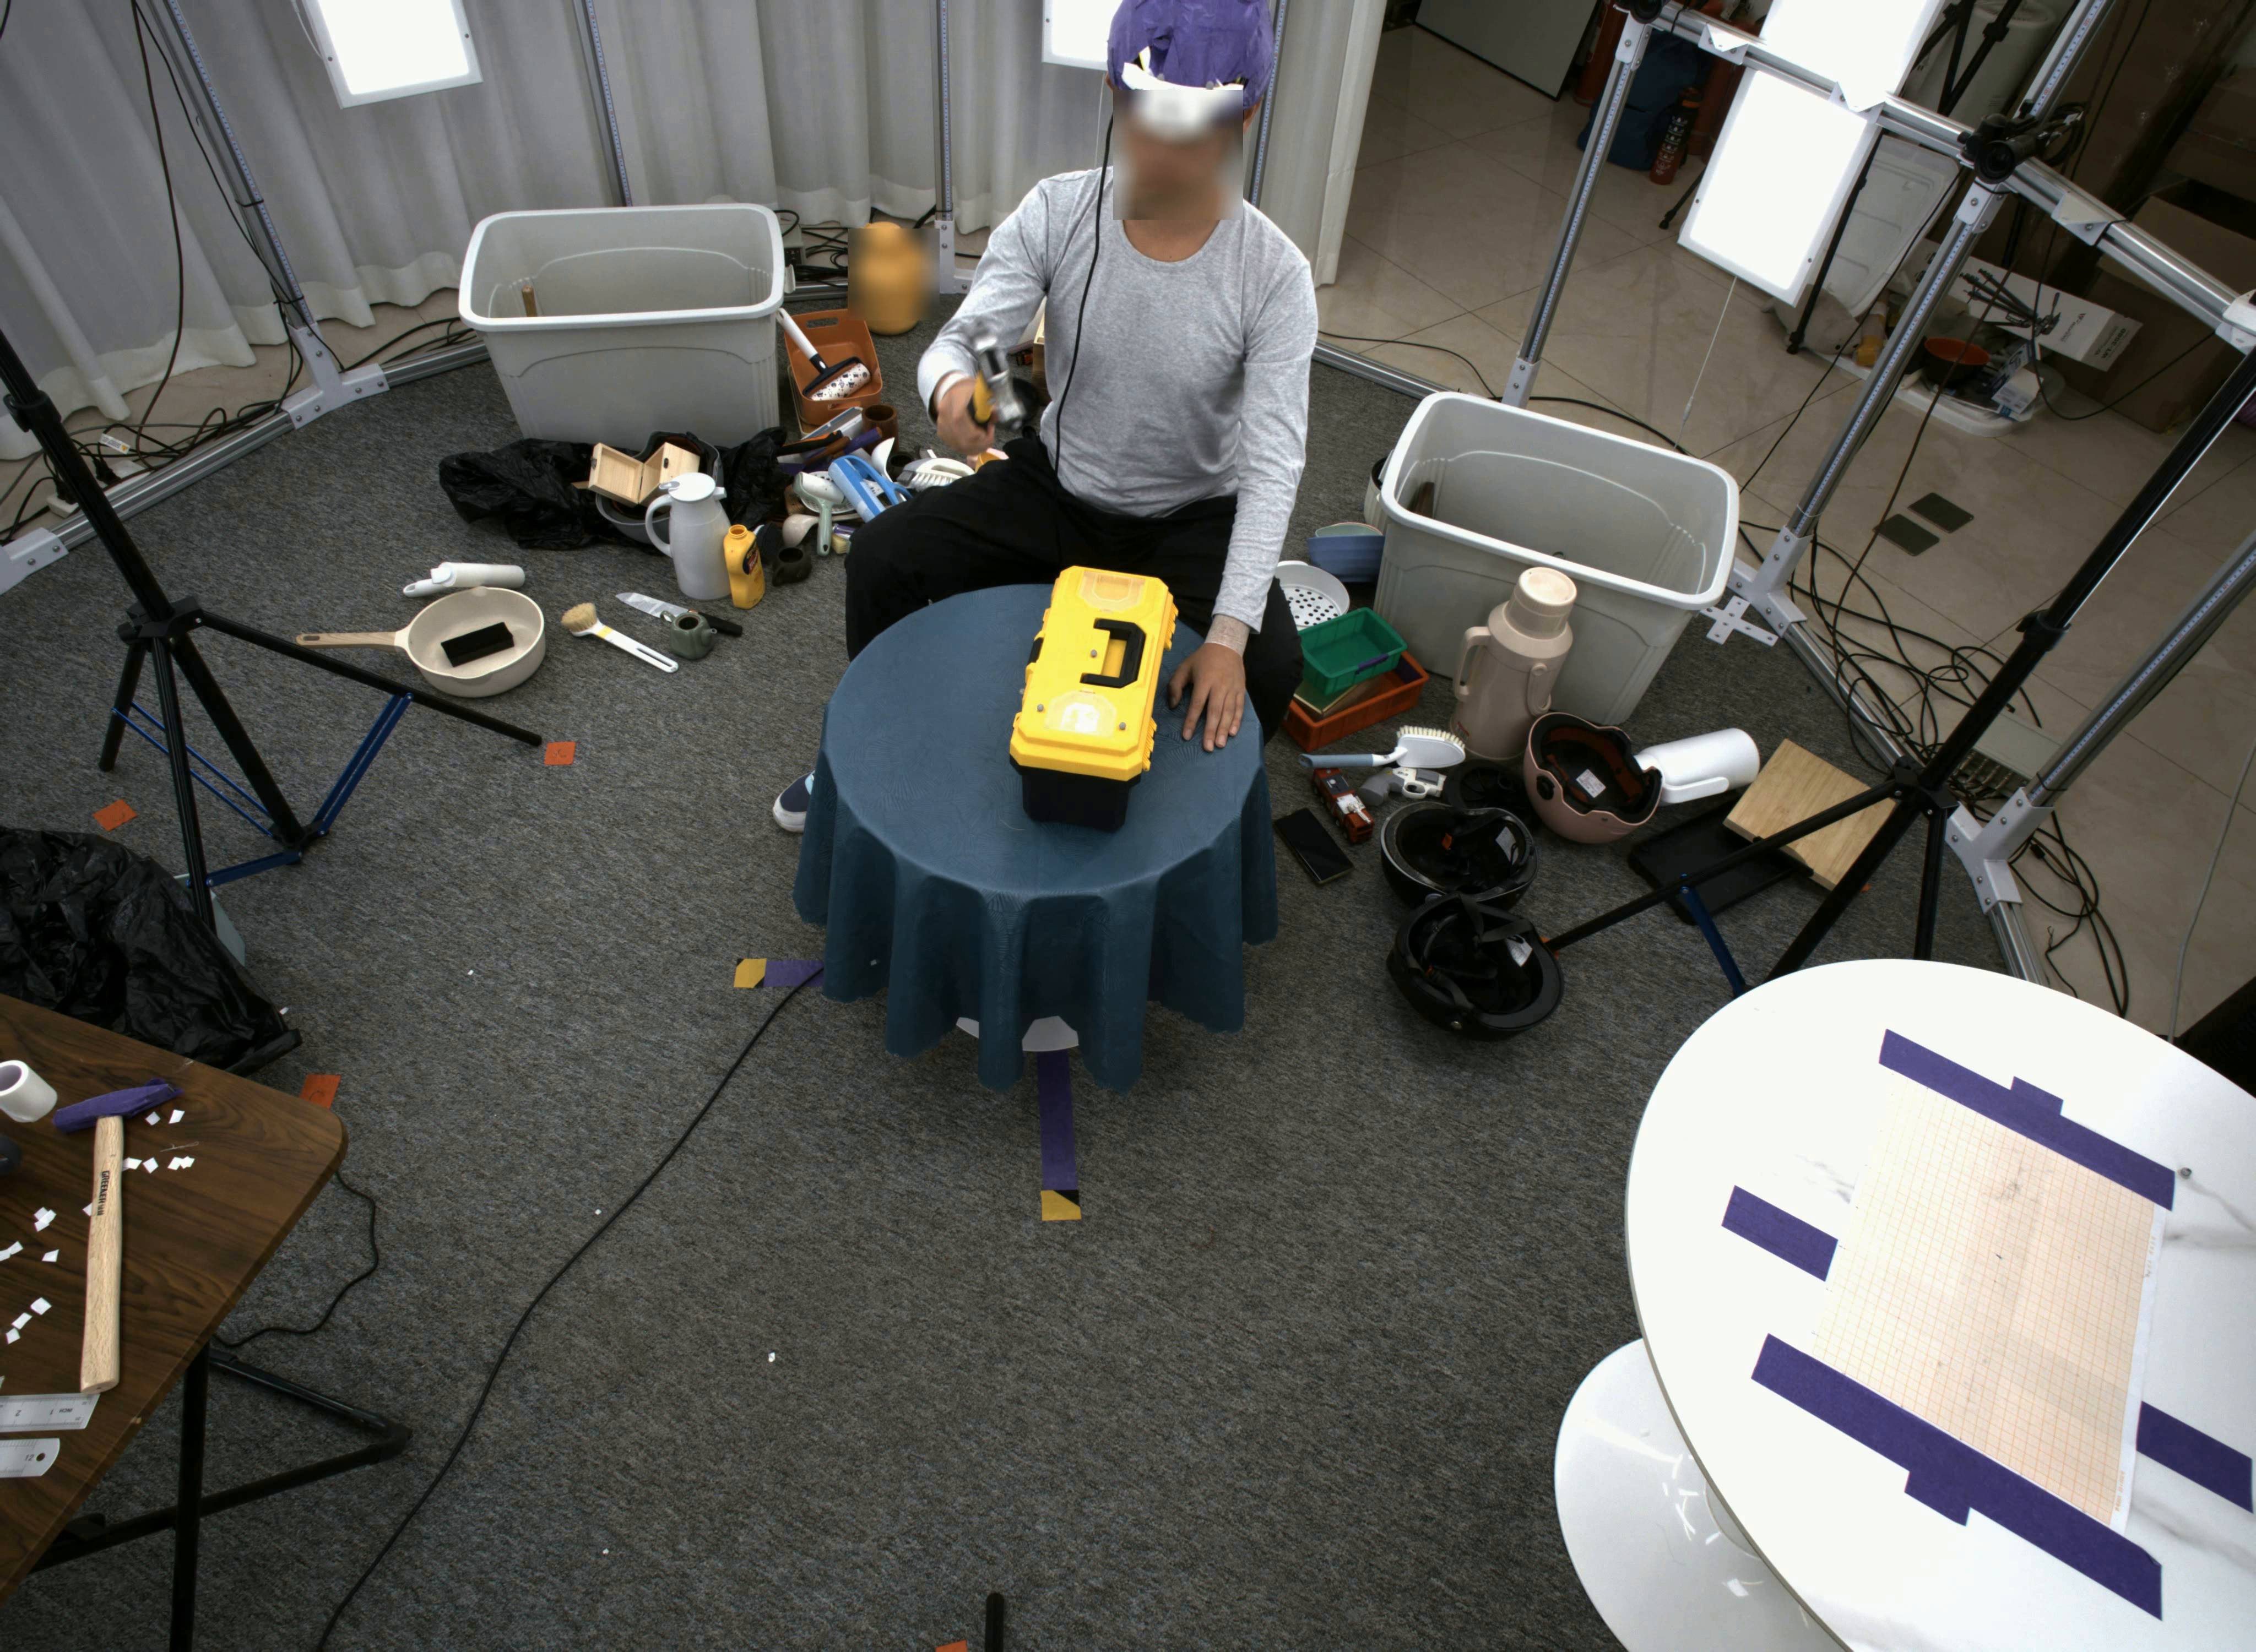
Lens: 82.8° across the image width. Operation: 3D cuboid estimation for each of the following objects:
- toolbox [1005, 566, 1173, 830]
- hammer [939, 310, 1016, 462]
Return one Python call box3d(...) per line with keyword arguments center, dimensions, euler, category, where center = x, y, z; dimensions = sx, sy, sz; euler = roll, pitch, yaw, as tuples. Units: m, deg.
box3d(center=(-0.046, -0.173, 1.712), dimensions=(0.181, 0.168, 0.360), euler=(9, 49, 3), category="toolbox")
box3d(center=(-0.184, -0.500, 1.560), dimensions=(0.032, 0.339, 0.131), euler=(-23, 94, -8), category="hammer")
